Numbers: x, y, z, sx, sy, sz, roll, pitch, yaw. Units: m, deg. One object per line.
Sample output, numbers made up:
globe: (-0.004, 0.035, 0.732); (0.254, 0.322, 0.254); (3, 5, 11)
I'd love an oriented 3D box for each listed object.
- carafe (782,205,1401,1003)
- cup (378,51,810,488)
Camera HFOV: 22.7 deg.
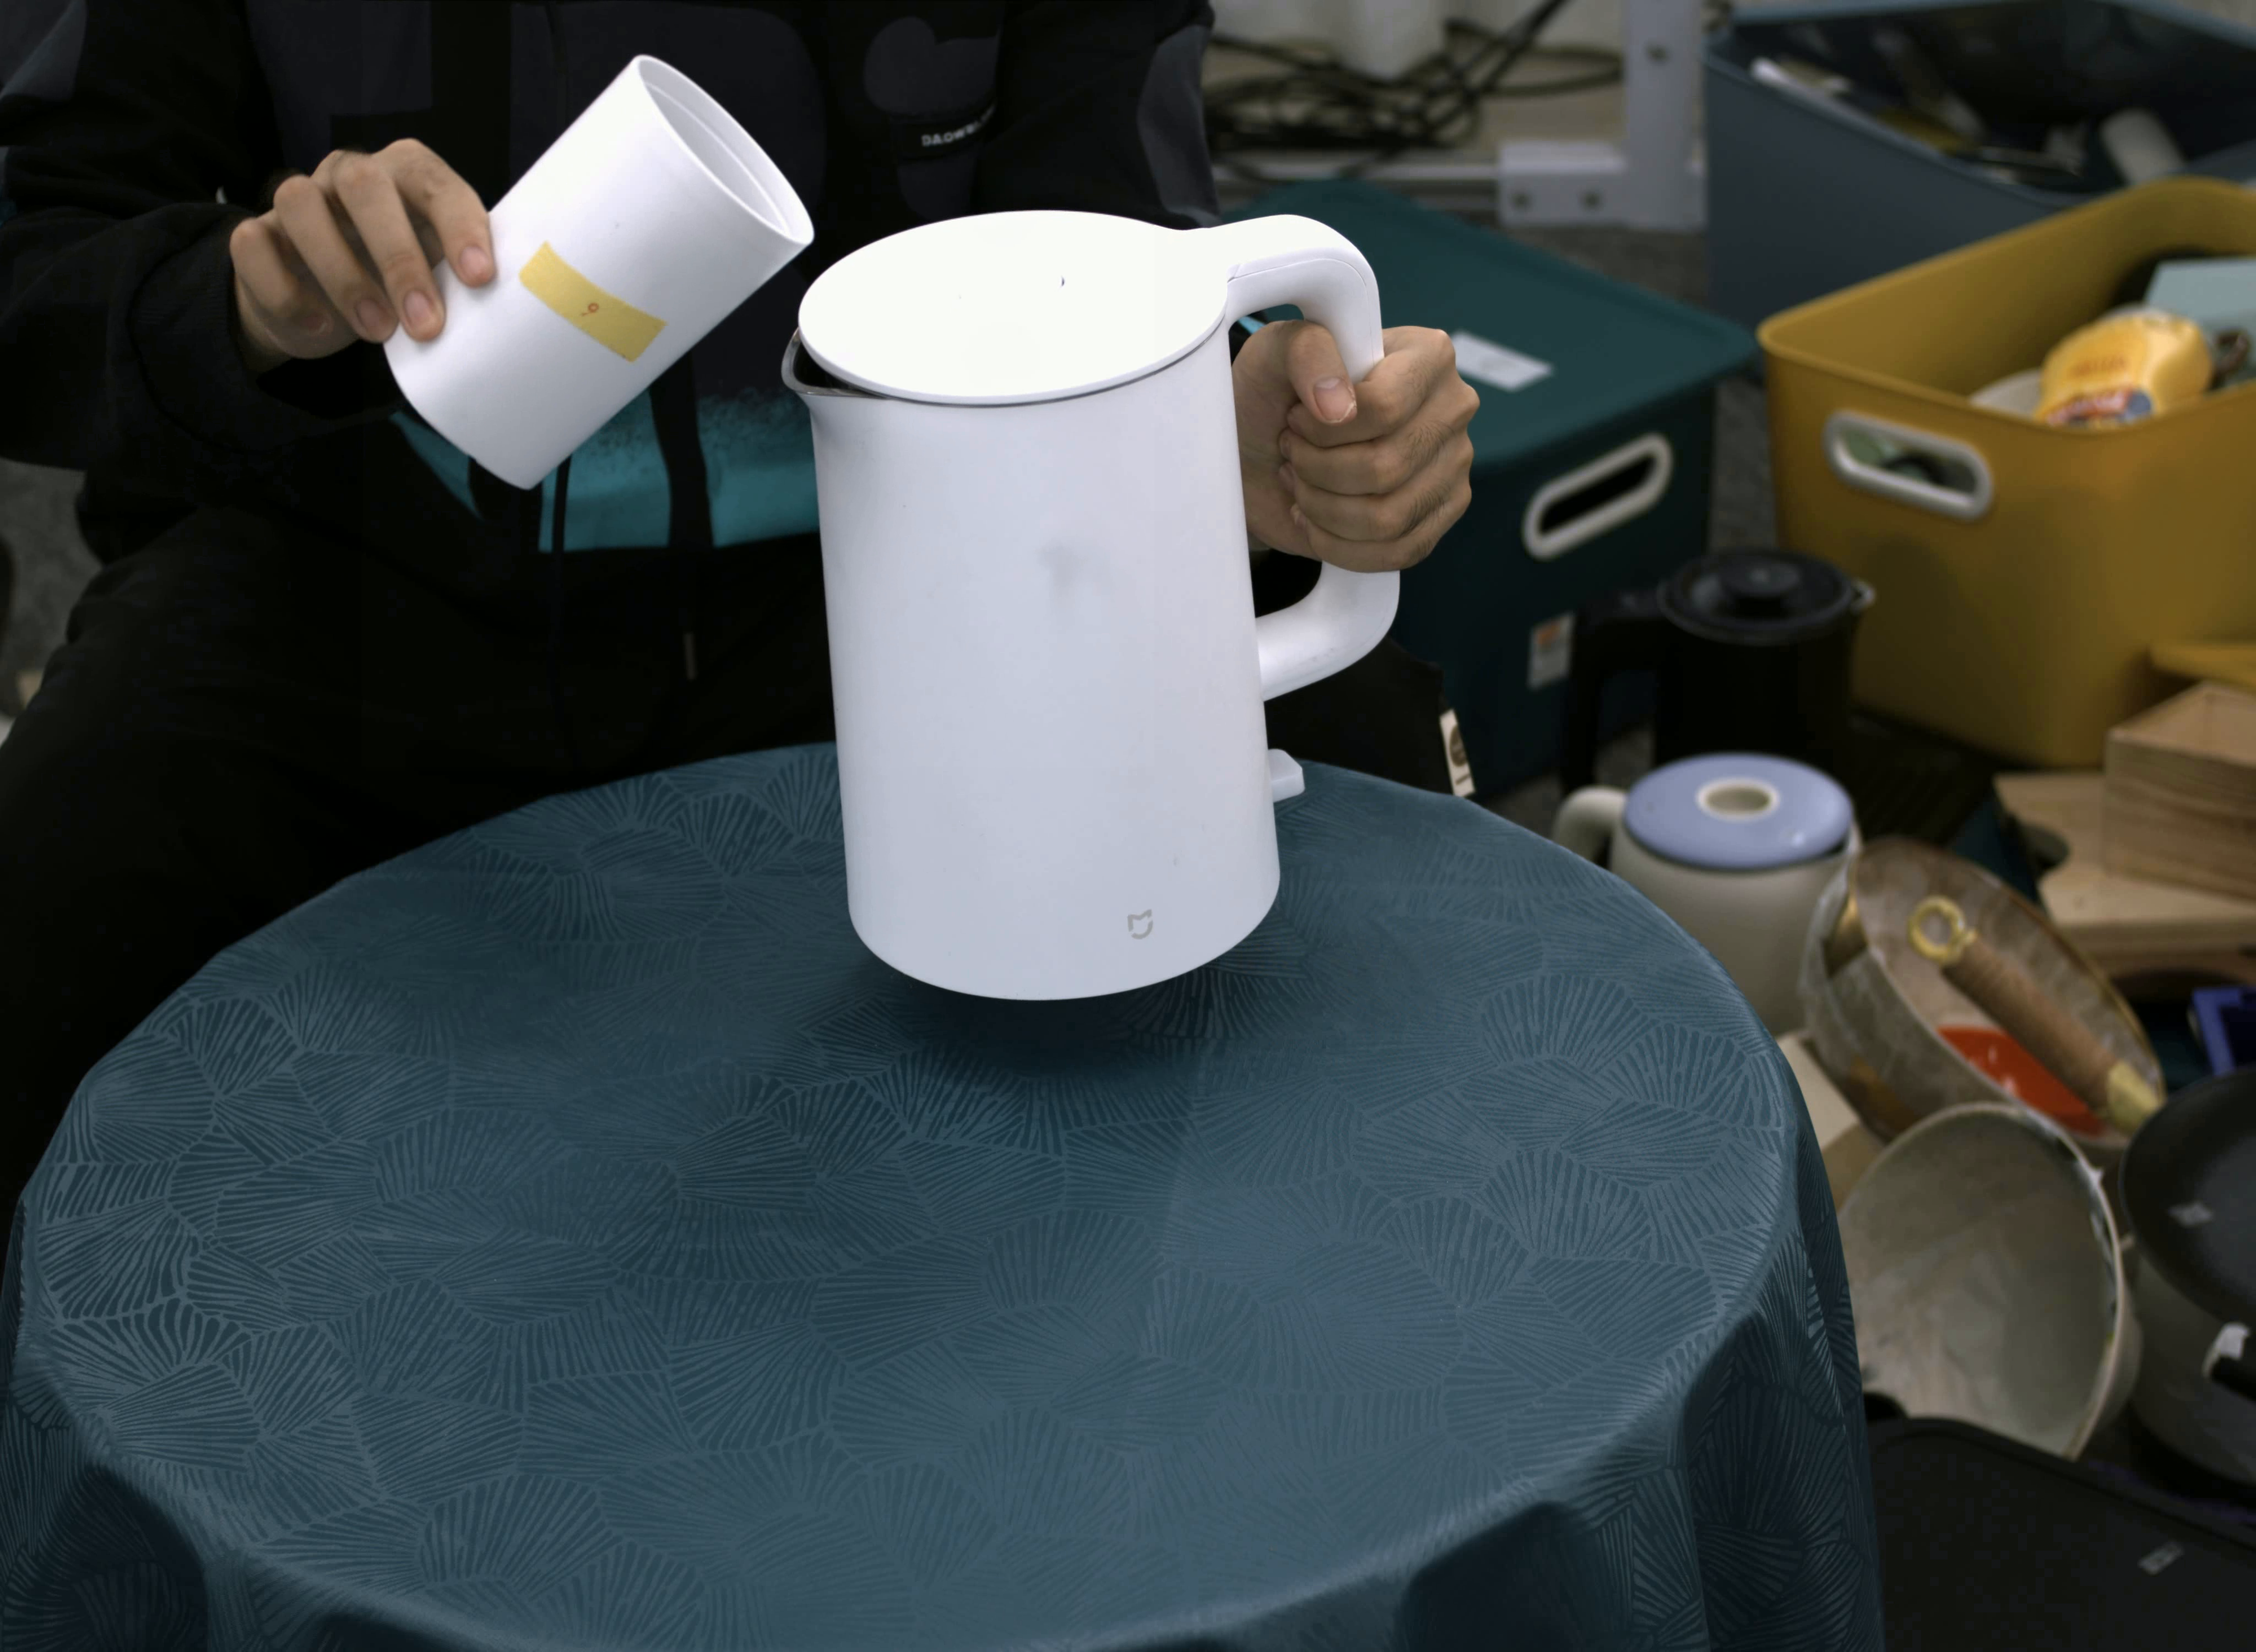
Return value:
carafe: (-0.006, -0.083, 1.925); (0.214, 0.237, 0.153); (-16, 32, -20)
cup: (-0.174, -0.176, 1.813); (0.124, 0.081, 0.083); (-43, 25, 12)
